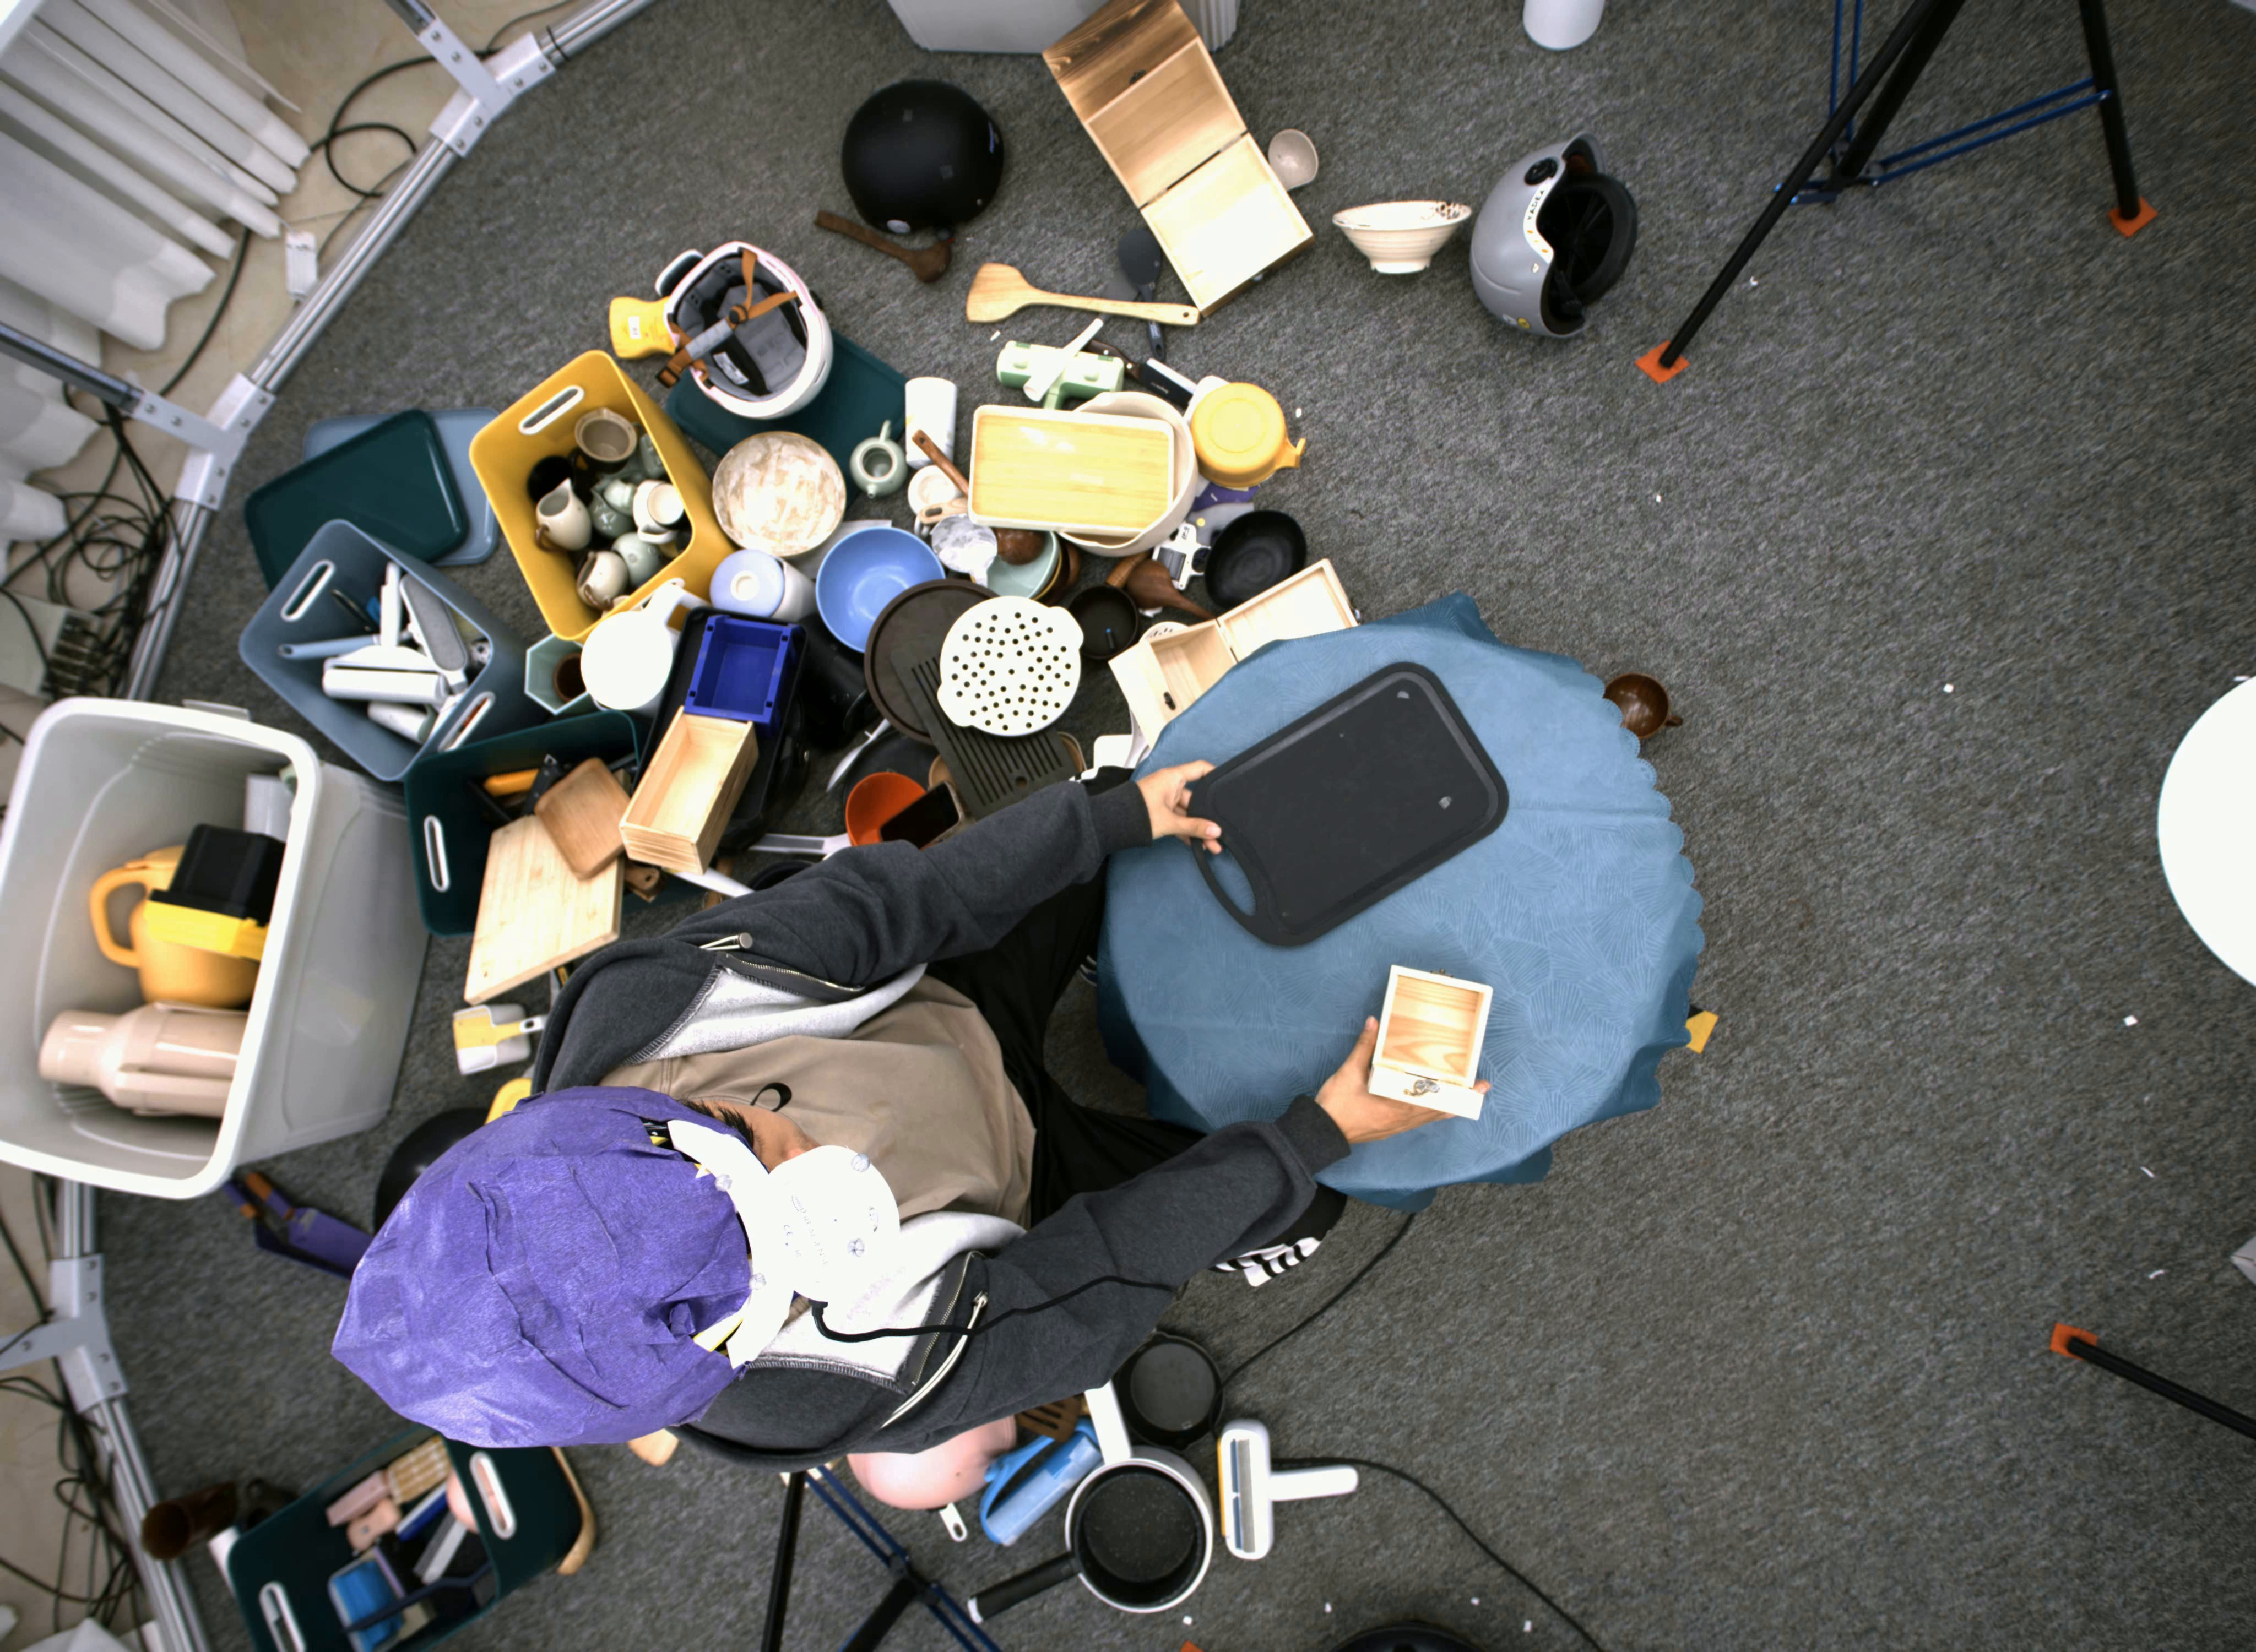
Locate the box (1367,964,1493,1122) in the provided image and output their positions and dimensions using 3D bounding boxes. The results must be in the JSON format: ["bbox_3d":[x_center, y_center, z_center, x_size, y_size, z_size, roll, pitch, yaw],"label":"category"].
[{"bbox_3d":[0.298,0.204,1.354,0.103,0.184,0.134,12,89,10],"label":"box"}]

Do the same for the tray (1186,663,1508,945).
[{"bbox_3d":[0.224,-0.020,1.458,0.326,0.010,0.210,-31,84,4],"label":"tray"}]
